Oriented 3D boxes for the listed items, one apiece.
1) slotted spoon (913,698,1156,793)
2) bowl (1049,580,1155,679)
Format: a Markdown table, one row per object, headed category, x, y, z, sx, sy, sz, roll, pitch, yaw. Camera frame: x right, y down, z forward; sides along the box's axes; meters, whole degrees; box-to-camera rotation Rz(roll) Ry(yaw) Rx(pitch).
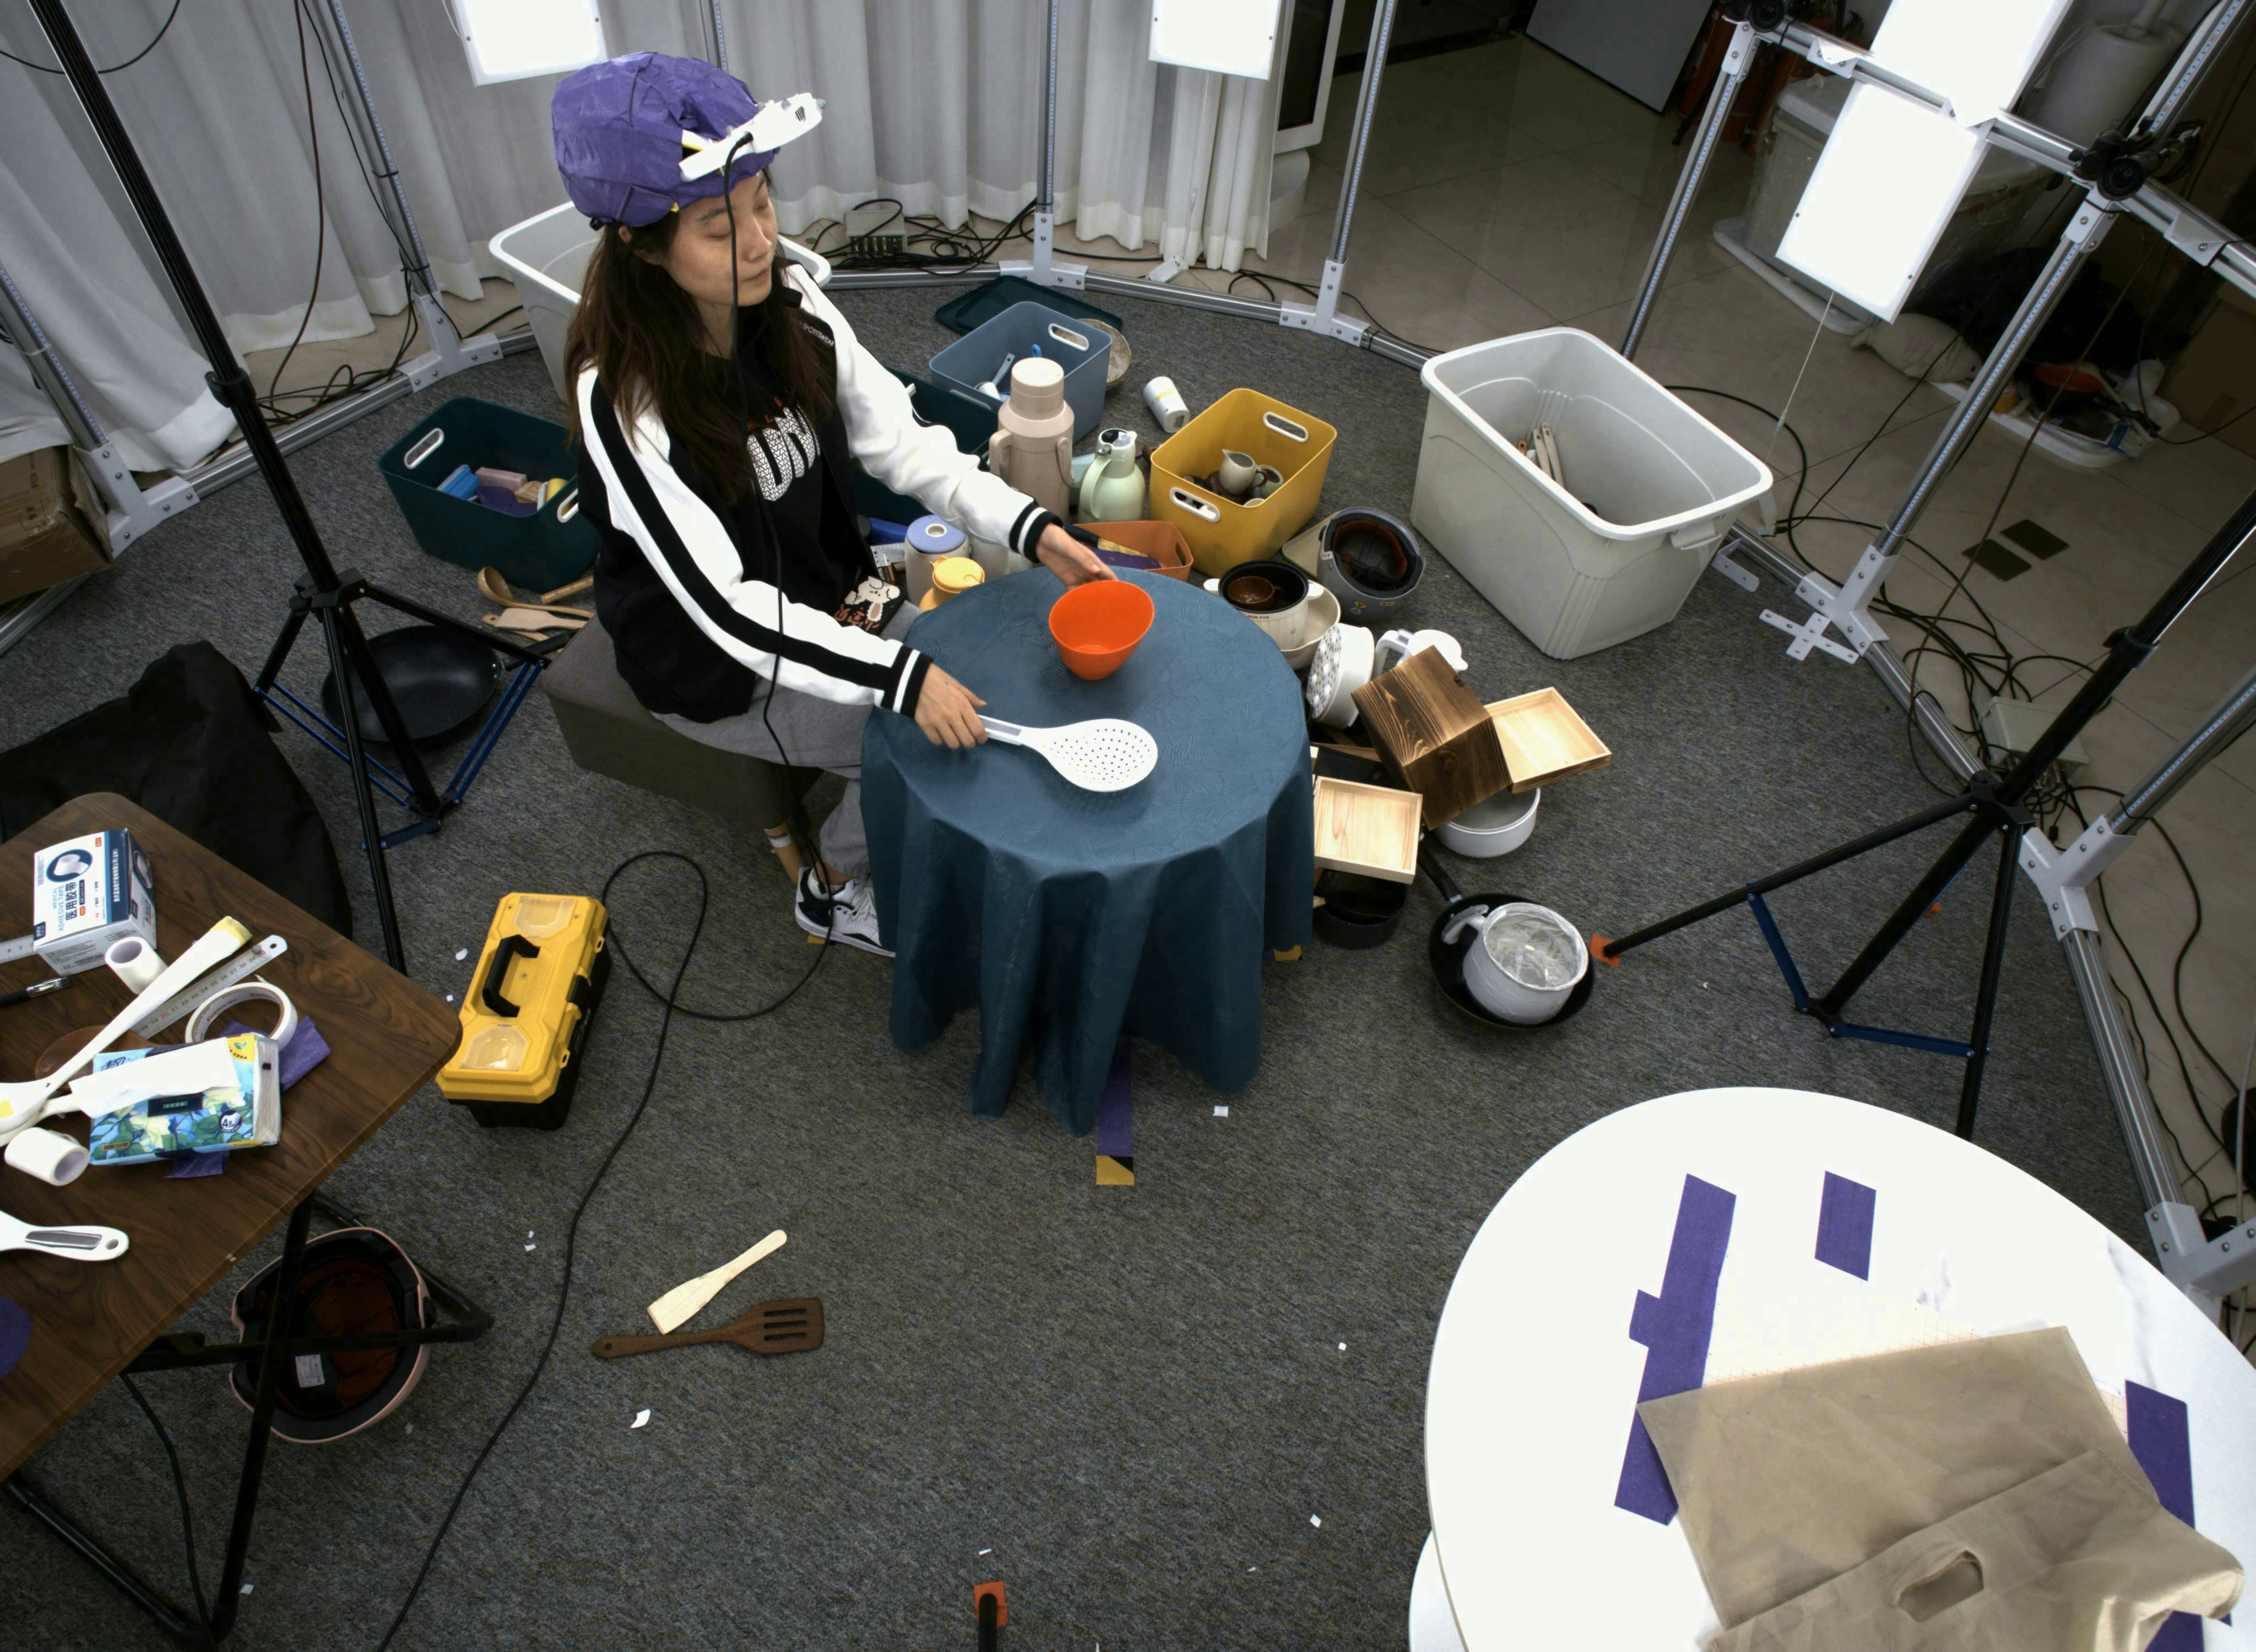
| category | x | y | z | sx | sy | sz | roll | pitch | yaw |
| --- | --- | --- | --- | --- | --- | --- | --- | --- | --- |
| slotted spoon | -0.131 | -0.119 | 1.735 | 0.351 | 0.044 | 0.138 | 19 | 49 | 13 |
| bowl | -0.039 | -0.269 | 1.834 | 0.148 | 0.102 | 0.151 | 2 | 53 | -2 |
